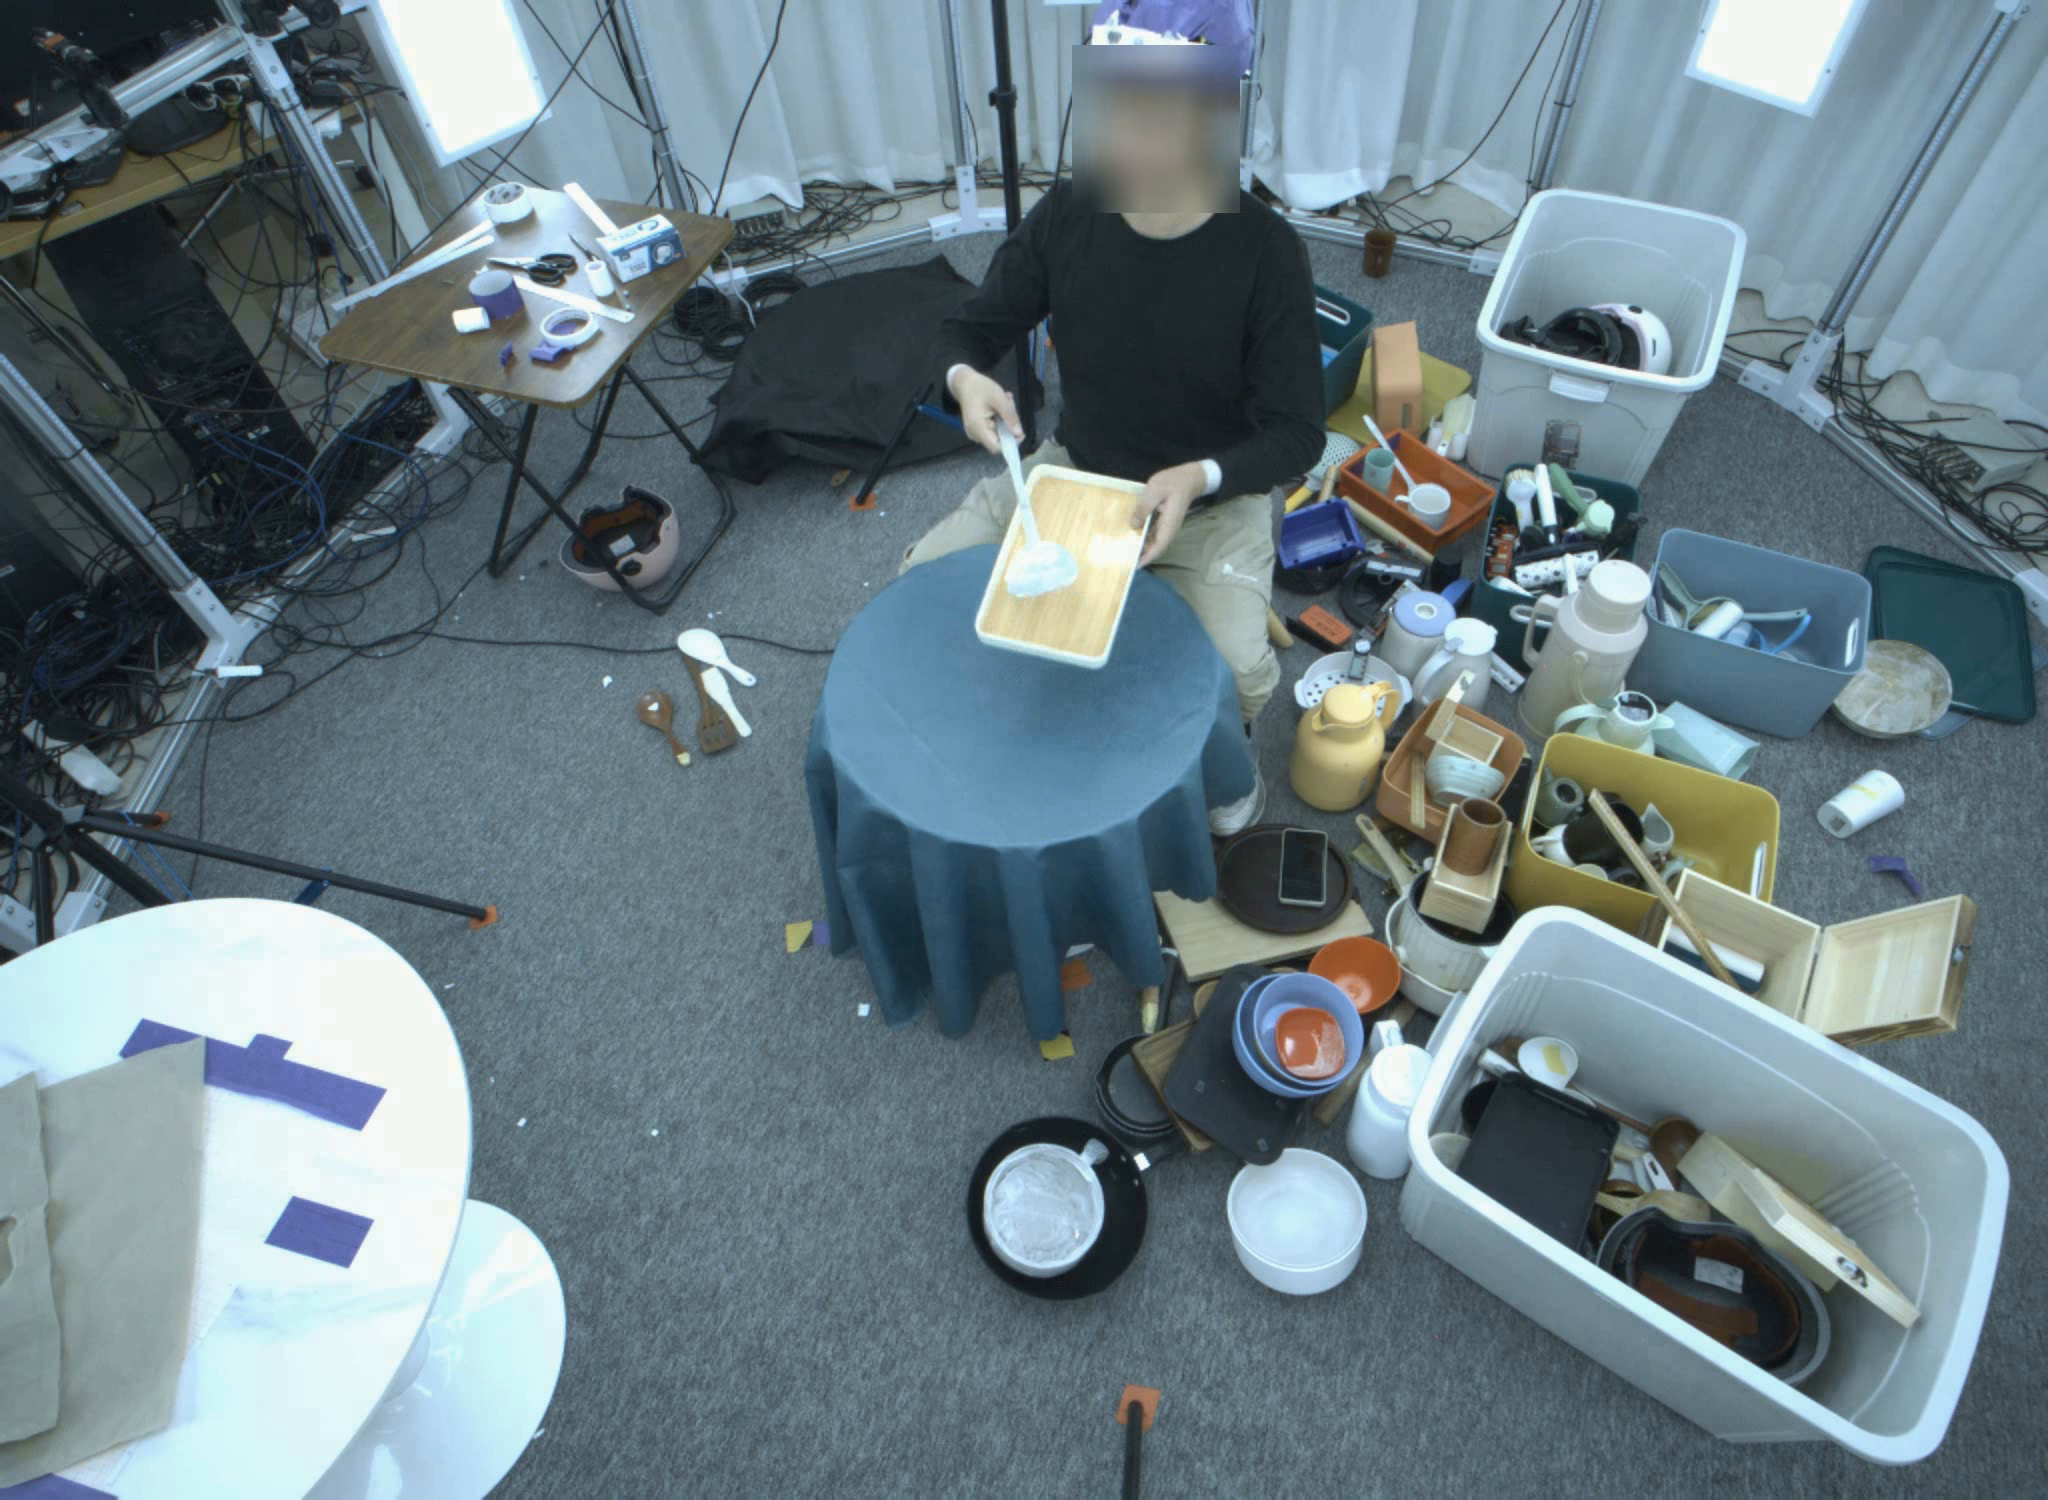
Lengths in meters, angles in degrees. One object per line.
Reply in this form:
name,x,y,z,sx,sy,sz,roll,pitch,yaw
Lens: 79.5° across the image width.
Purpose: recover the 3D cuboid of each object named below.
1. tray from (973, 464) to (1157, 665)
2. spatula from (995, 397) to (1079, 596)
tray,0.061,-0.267,1.730,0.190,0.027,0.299,15,66,9
spatula,-0.005,-0.363,1.683,0.098,0.045,0.361,-14,69,3
